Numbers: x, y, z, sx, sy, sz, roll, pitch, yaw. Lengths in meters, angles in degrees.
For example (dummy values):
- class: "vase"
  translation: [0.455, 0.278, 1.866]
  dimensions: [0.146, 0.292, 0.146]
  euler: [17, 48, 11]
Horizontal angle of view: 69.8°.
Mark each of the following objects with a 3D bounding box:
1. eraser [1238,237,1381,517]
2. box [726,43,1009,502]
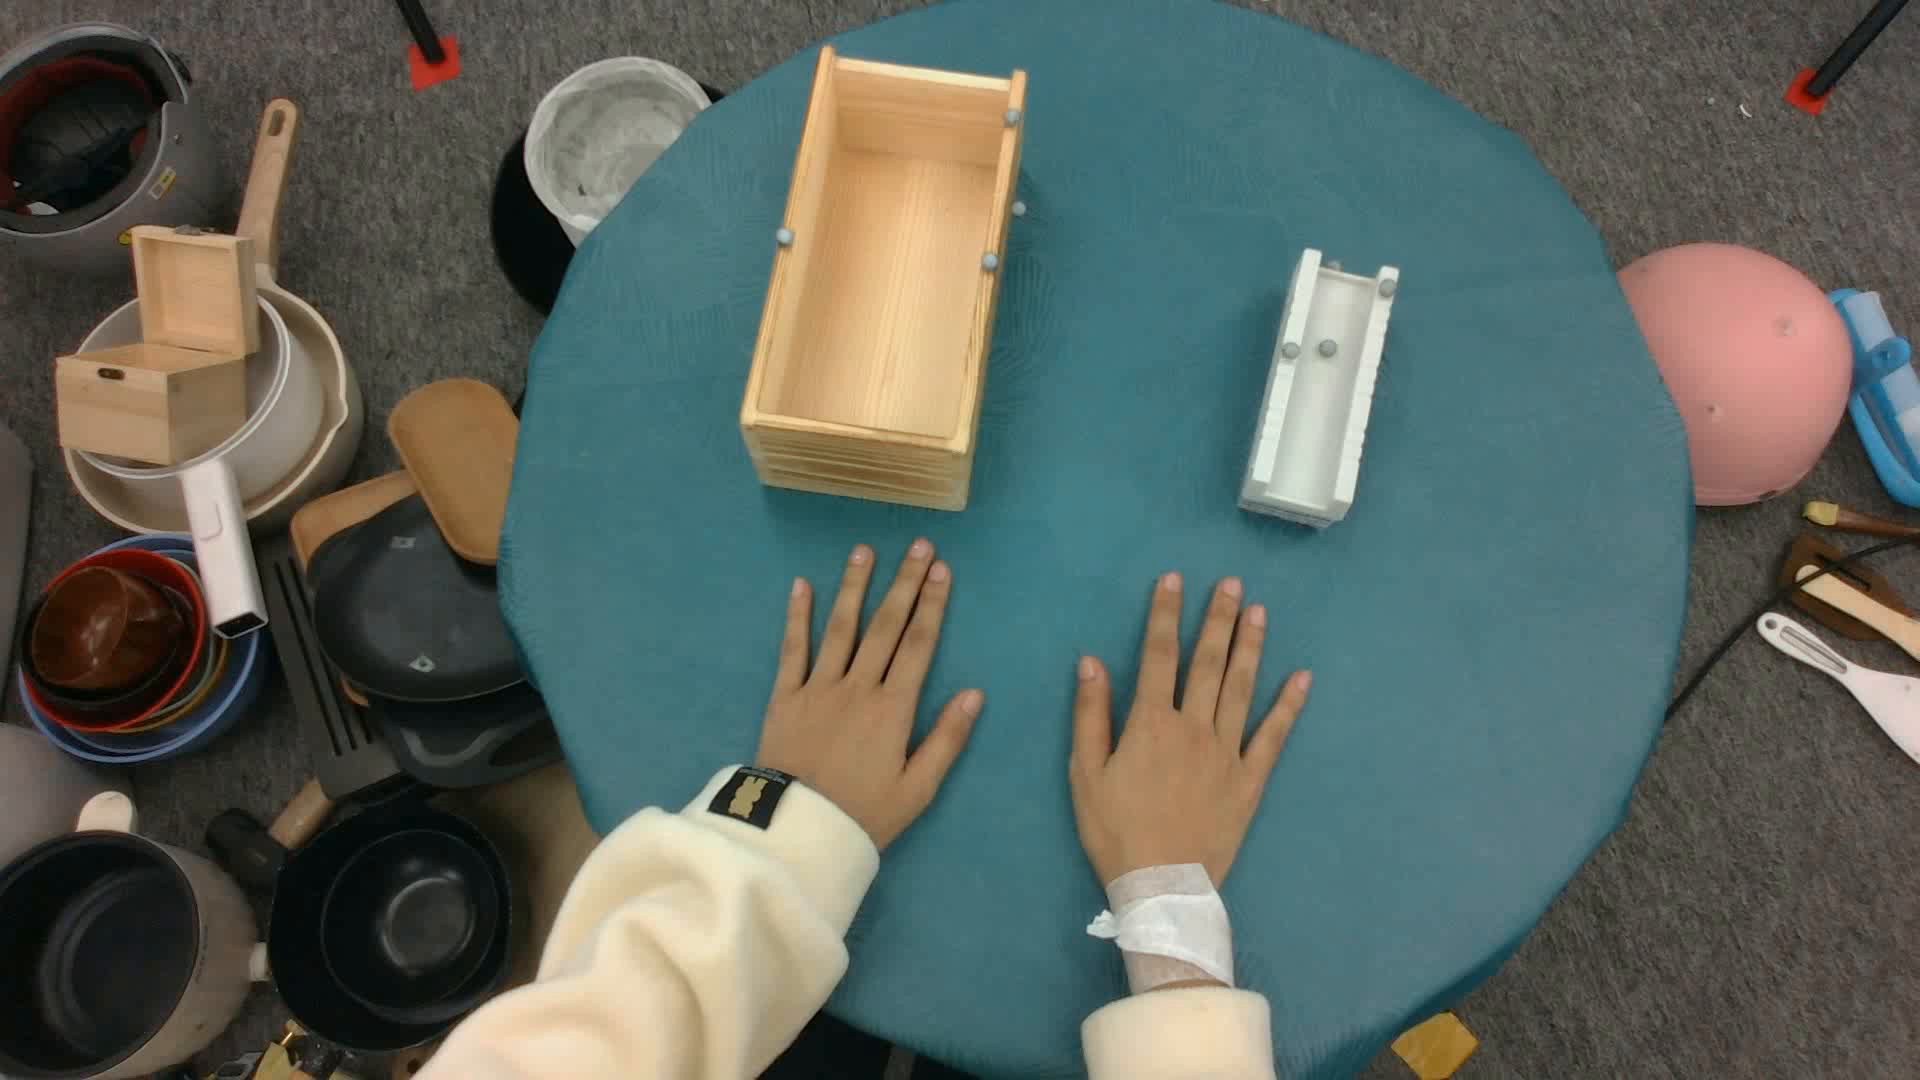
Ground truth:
- class: "eraser"
  translation: [0.175, -0.082, 0.697]
  dimensions: [0.050, 0.046, 0.135]
  euler: [13, 69, 2]
- class: "box"
  translation: [-0.041, -0.135, 0.694]
  dimensions: [0.107, 0.080, 0.212]
  euler: [7, 70, 2]
